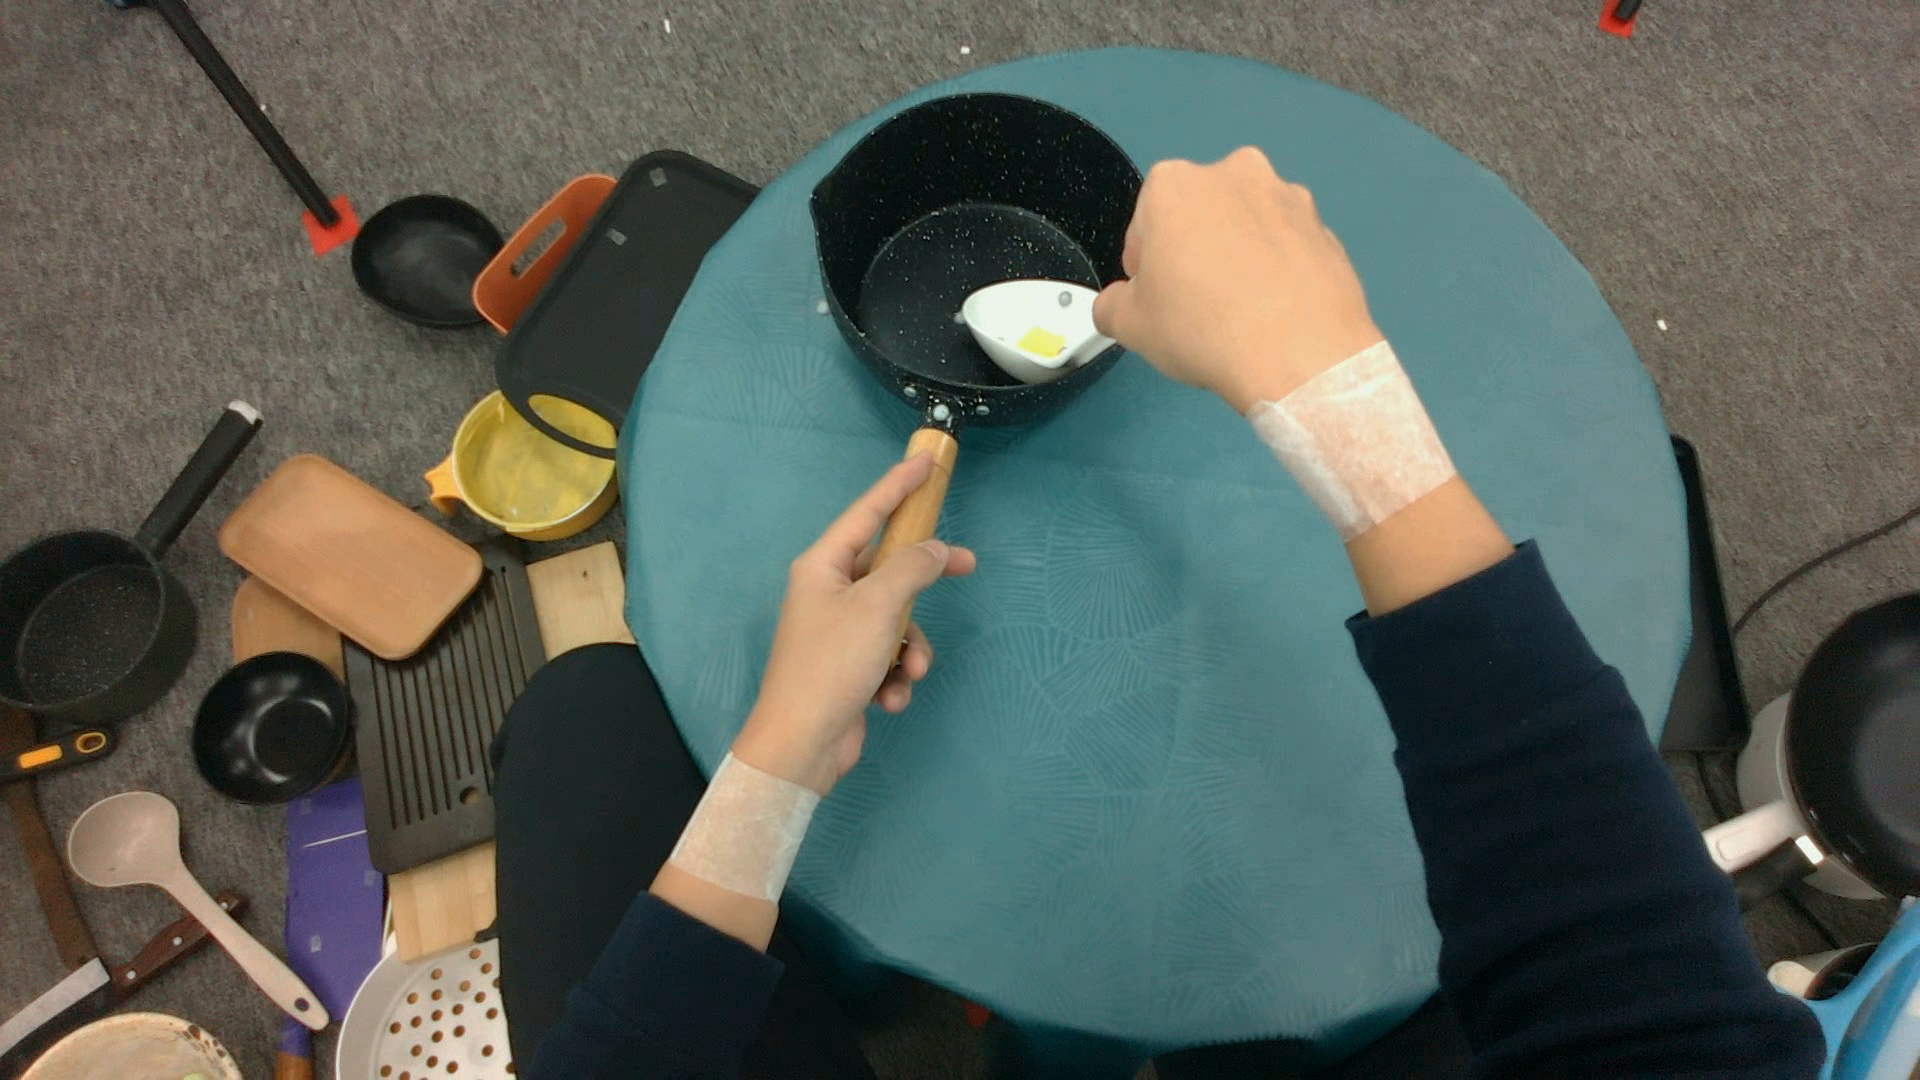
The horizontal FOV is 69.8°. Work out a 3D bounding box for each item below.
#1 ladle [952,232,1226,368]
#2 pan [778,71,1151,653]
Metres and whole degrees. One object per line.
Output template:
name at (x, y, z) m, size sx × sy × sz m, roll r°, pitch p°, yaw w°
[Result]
ladle at (0.060, -0.124, 0.665) m, size 0.090 × 0.293 × 0.070 m, roll 5°, pitch 90°, yaw -11°
pan at (-0.014, -0.090, 0.733) m, size 0.207 × 0.108 × 0.344 m, roll 12°, pitch 69°, yaw 1°
